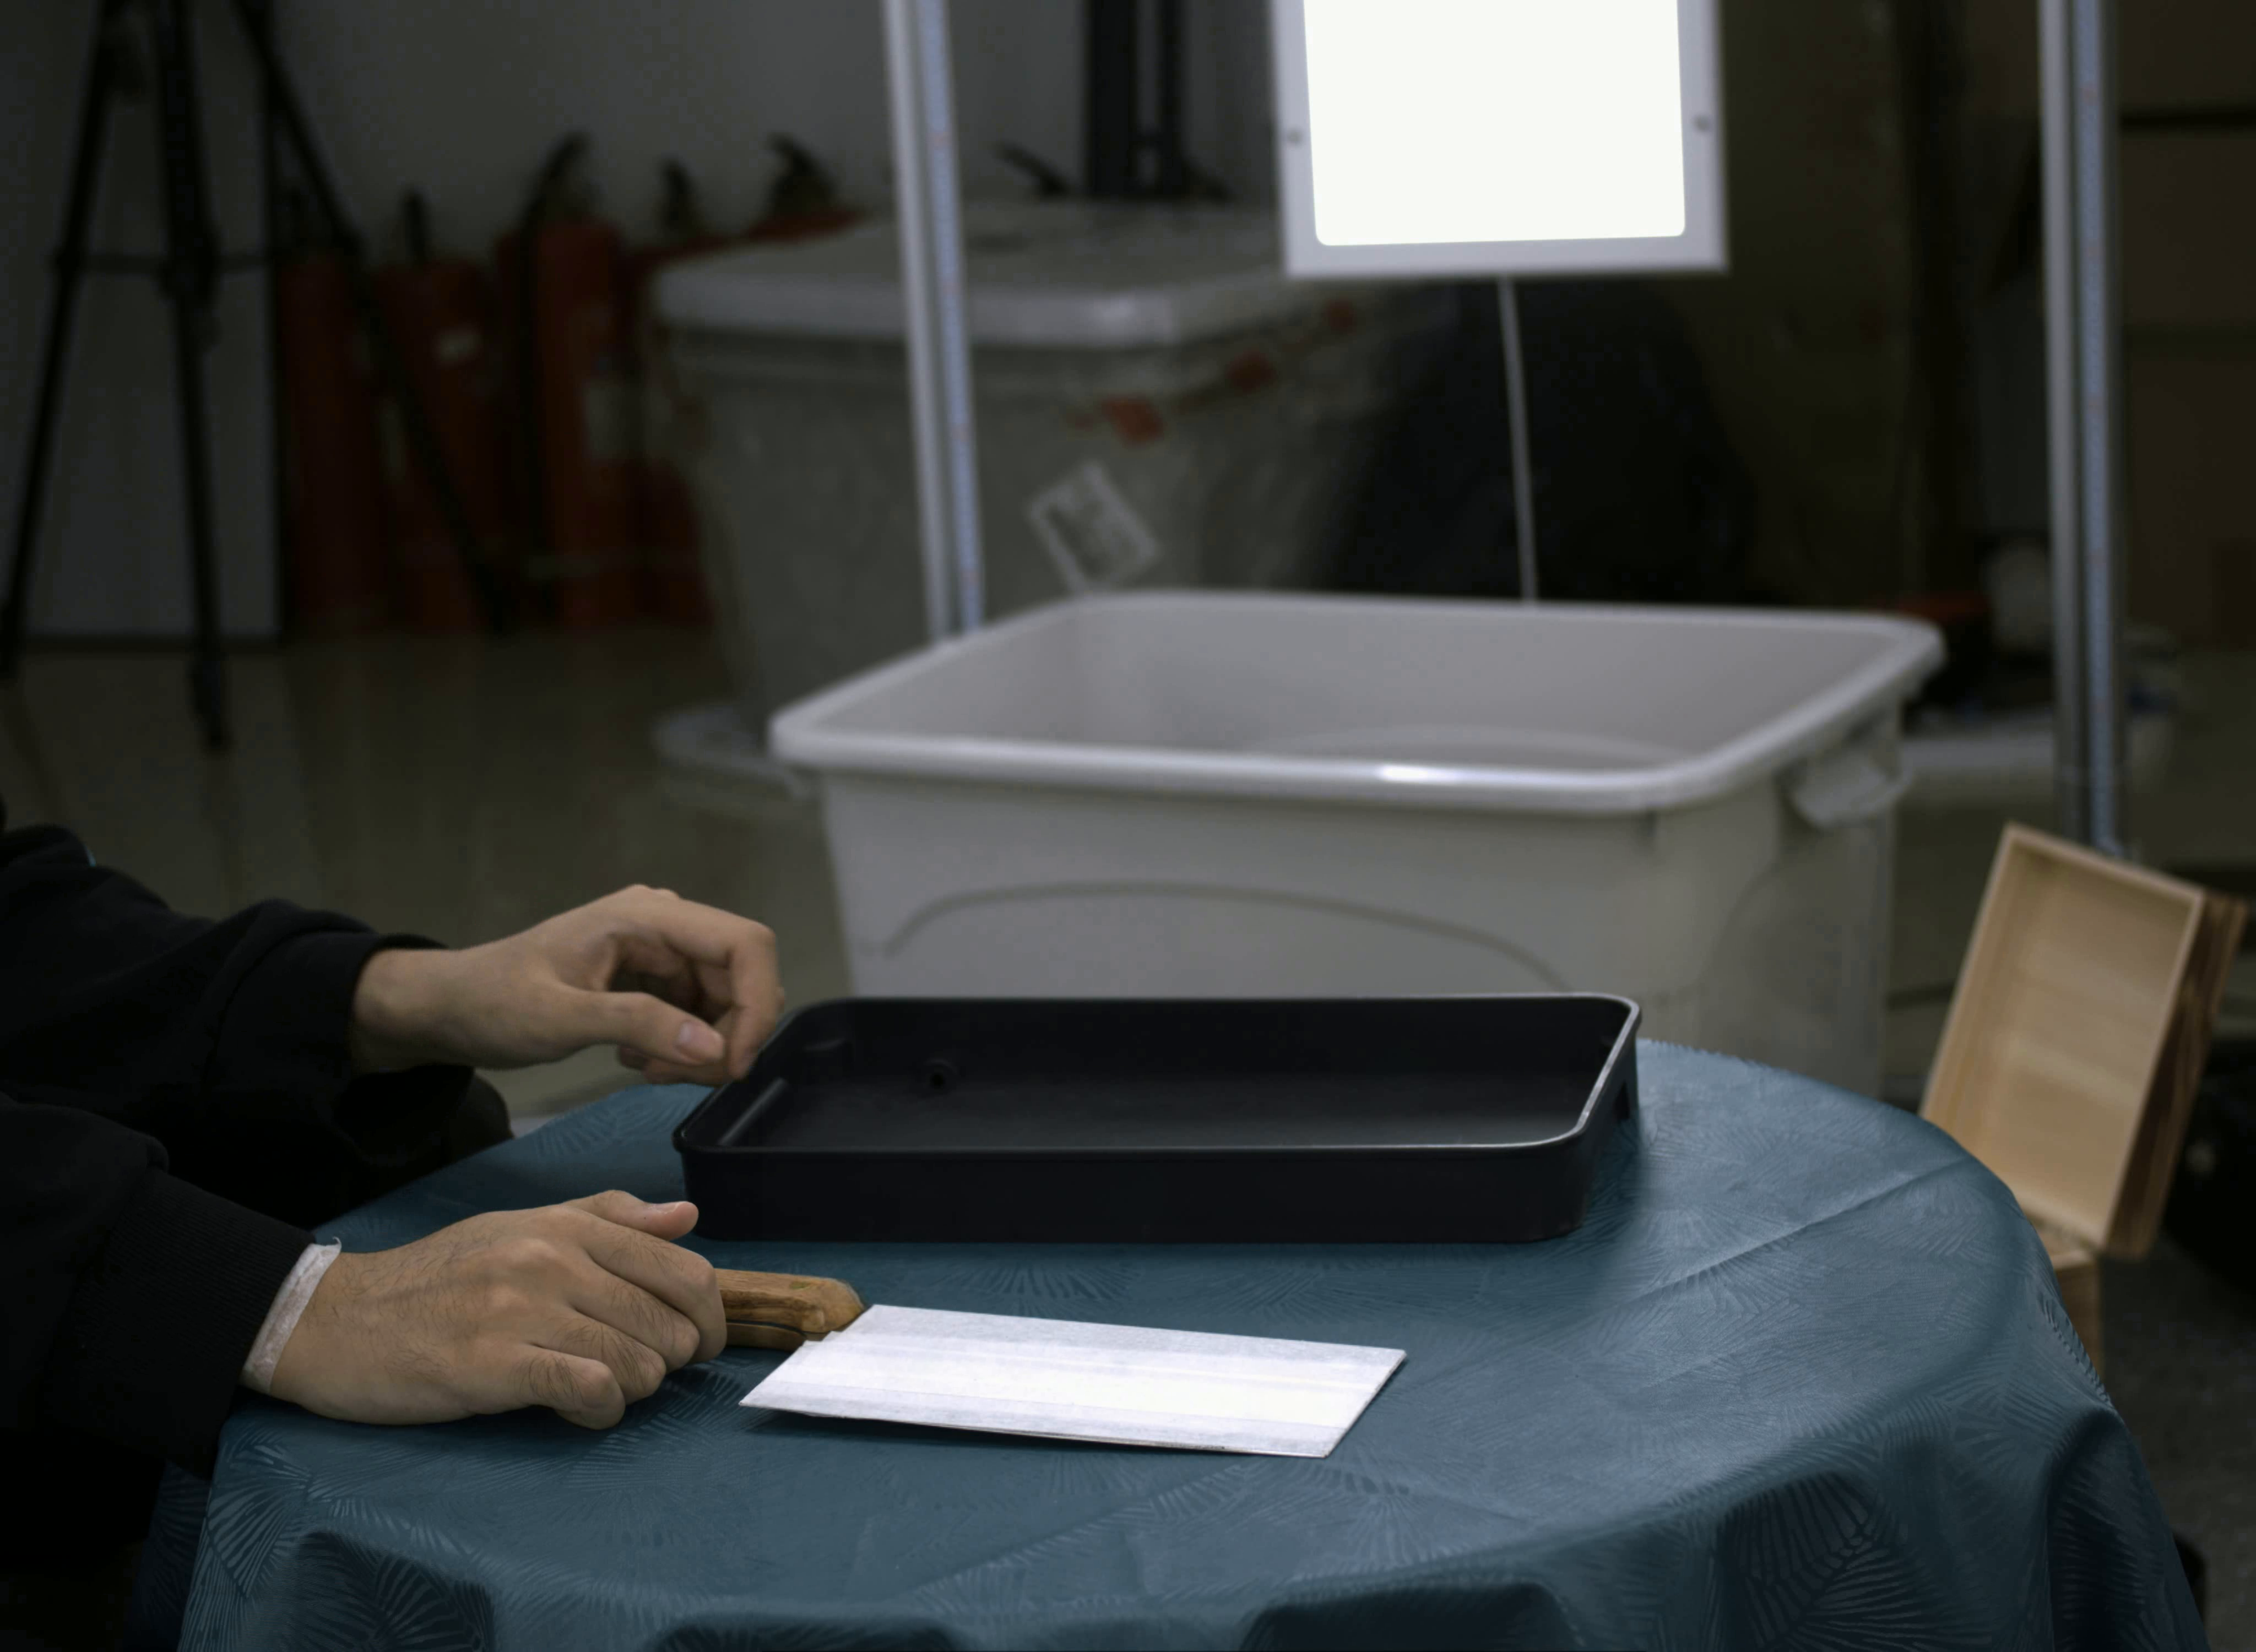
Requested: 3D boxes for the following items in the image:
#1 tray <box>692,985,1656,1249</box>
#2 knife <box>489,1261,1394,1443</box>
[{"bbox_3d":[0.020,0.100,1.920,0.321,0.037,0.182,-2,15,14],"label":"tray"},{"bbox_3d":[-0.070,0.167,1.725,0.310,0.021,0.091,3,17,21],"label":"knife"}]
